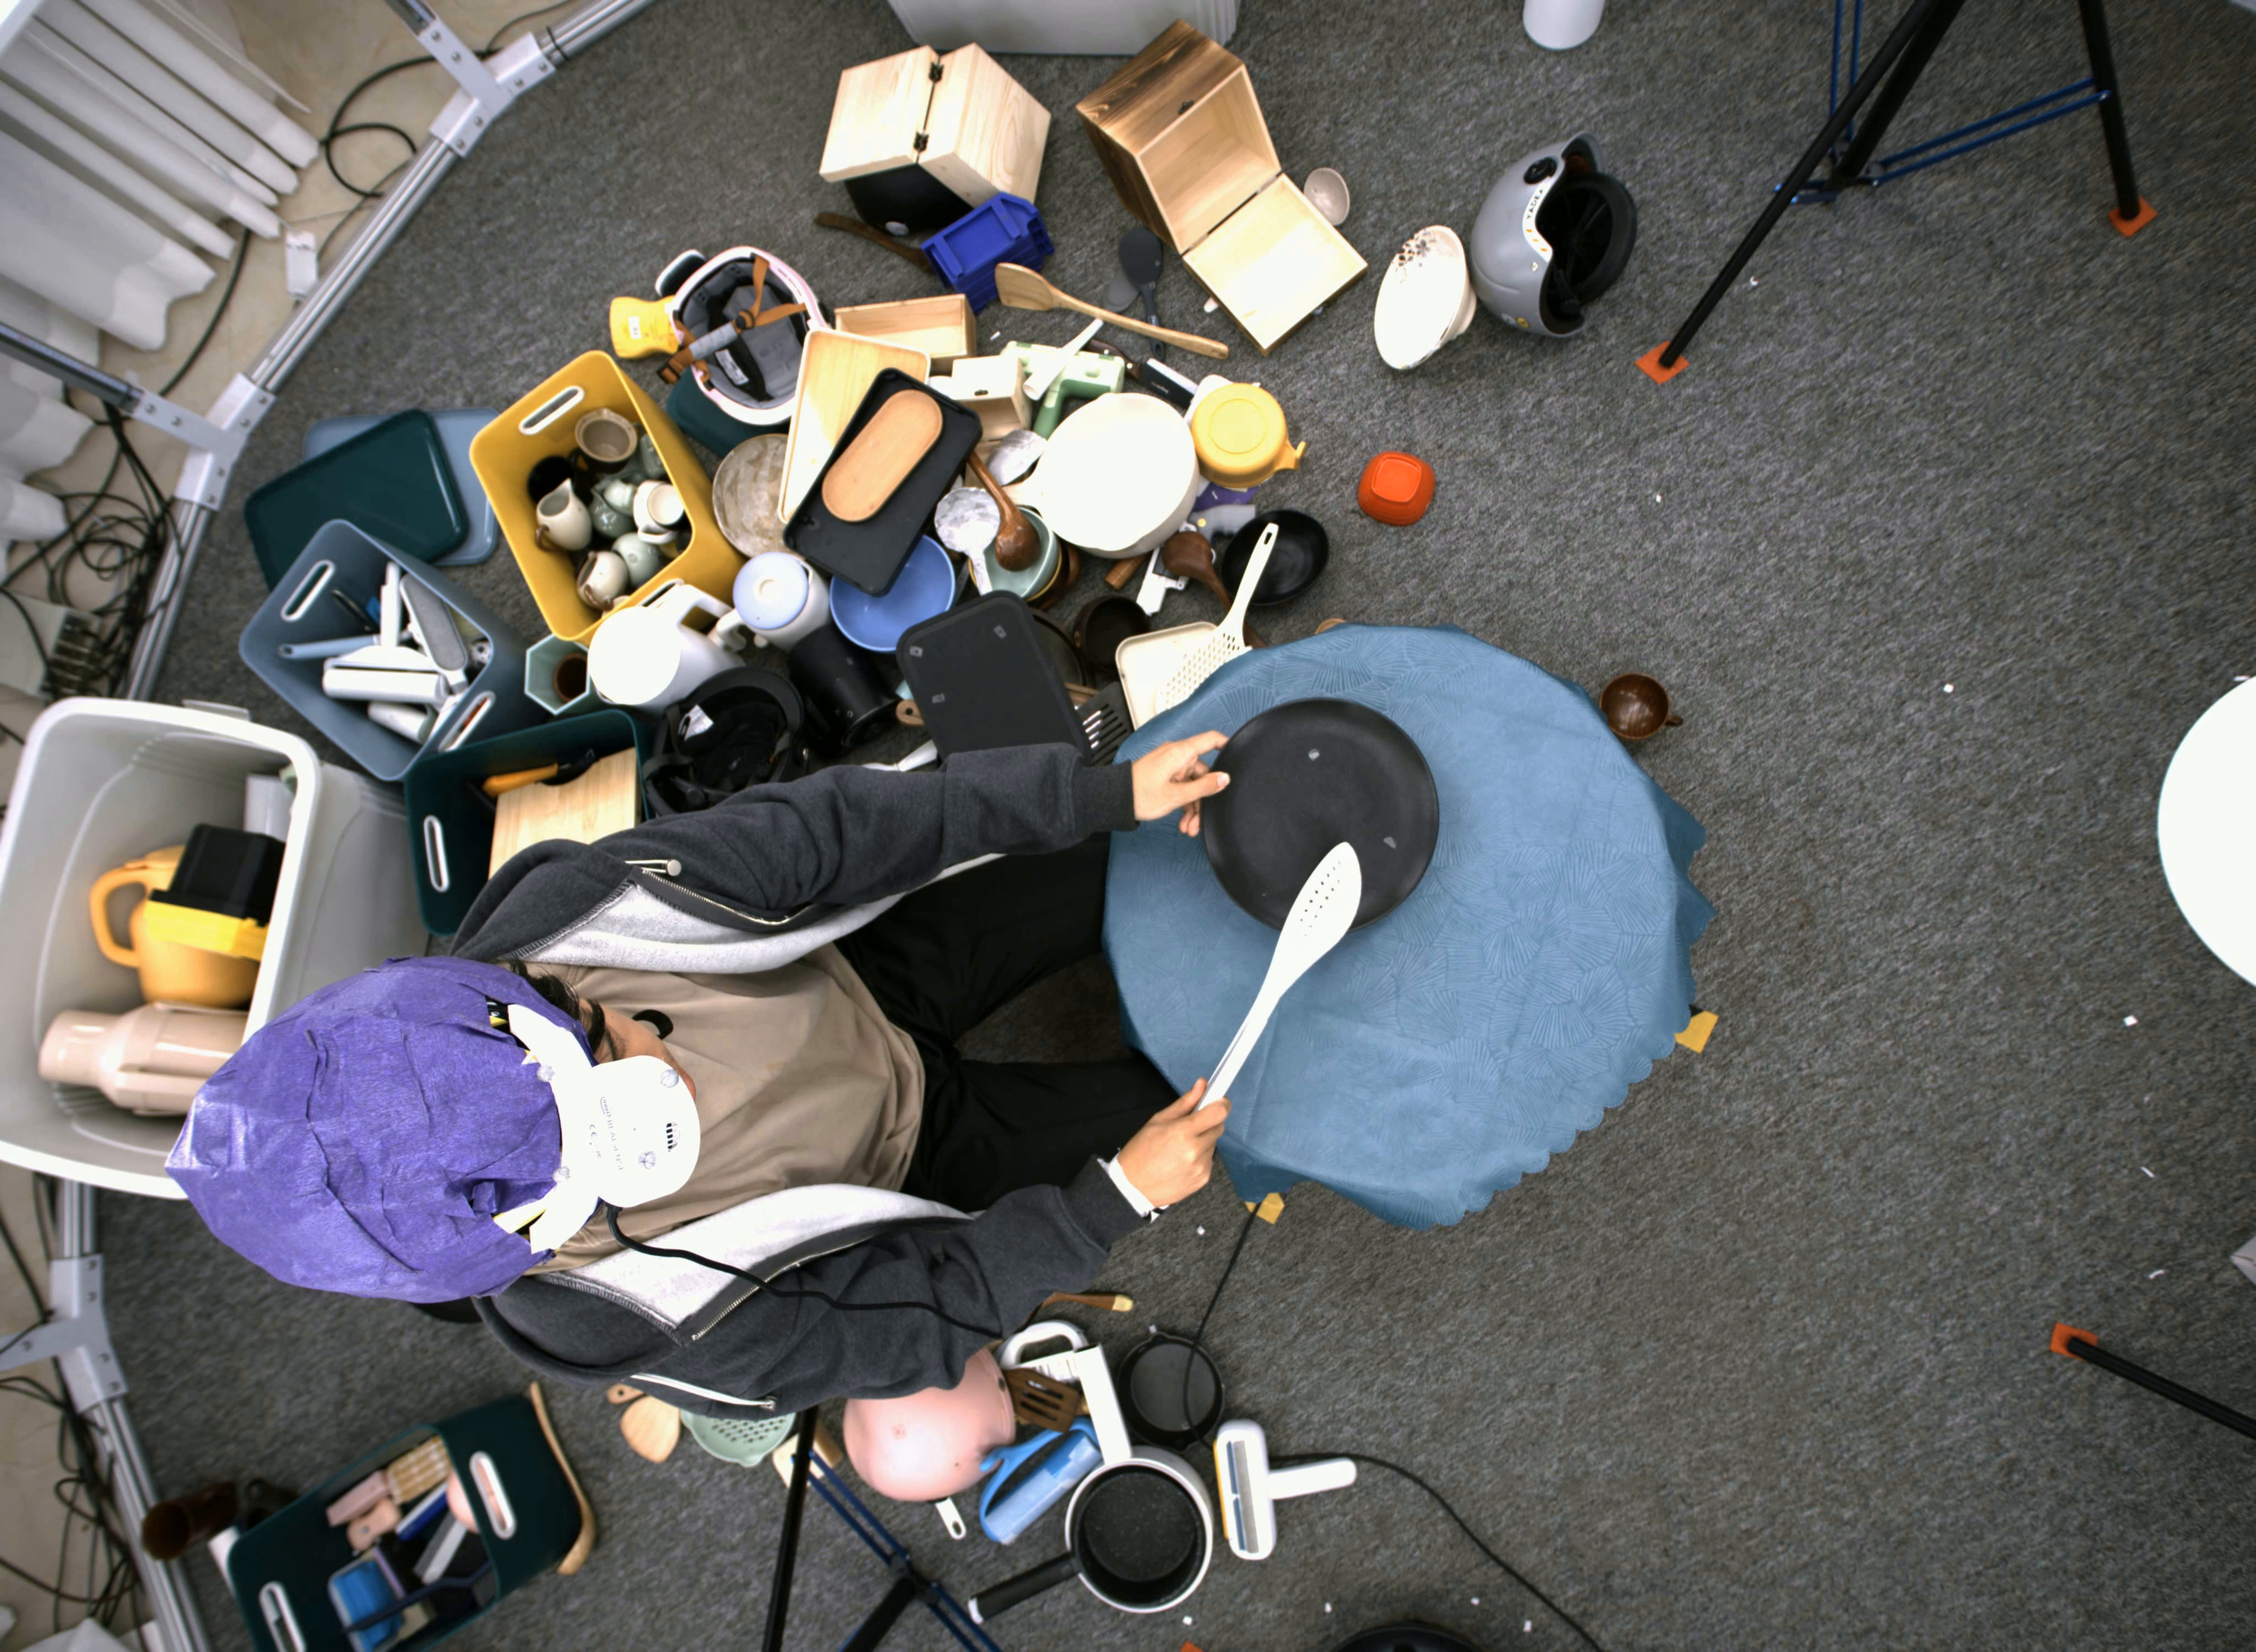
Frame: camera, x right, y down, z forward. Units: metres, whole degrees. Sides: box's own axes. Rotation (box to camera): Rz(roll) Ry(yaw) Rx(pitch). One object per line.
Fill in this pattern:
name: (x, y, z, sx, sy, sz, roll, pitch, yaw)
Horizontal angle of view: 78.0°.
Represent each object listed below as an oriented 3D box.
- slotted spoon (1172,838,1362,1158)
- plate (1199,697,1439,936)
slotted spoon: (0.134, 0.169, 1.348, 0.046, 0.135, 0.351, 33, 94, -8)
plate: (0.193, -0.010, 1.398, 0.244, 0.023, 0.245, 0, 96, -2)
